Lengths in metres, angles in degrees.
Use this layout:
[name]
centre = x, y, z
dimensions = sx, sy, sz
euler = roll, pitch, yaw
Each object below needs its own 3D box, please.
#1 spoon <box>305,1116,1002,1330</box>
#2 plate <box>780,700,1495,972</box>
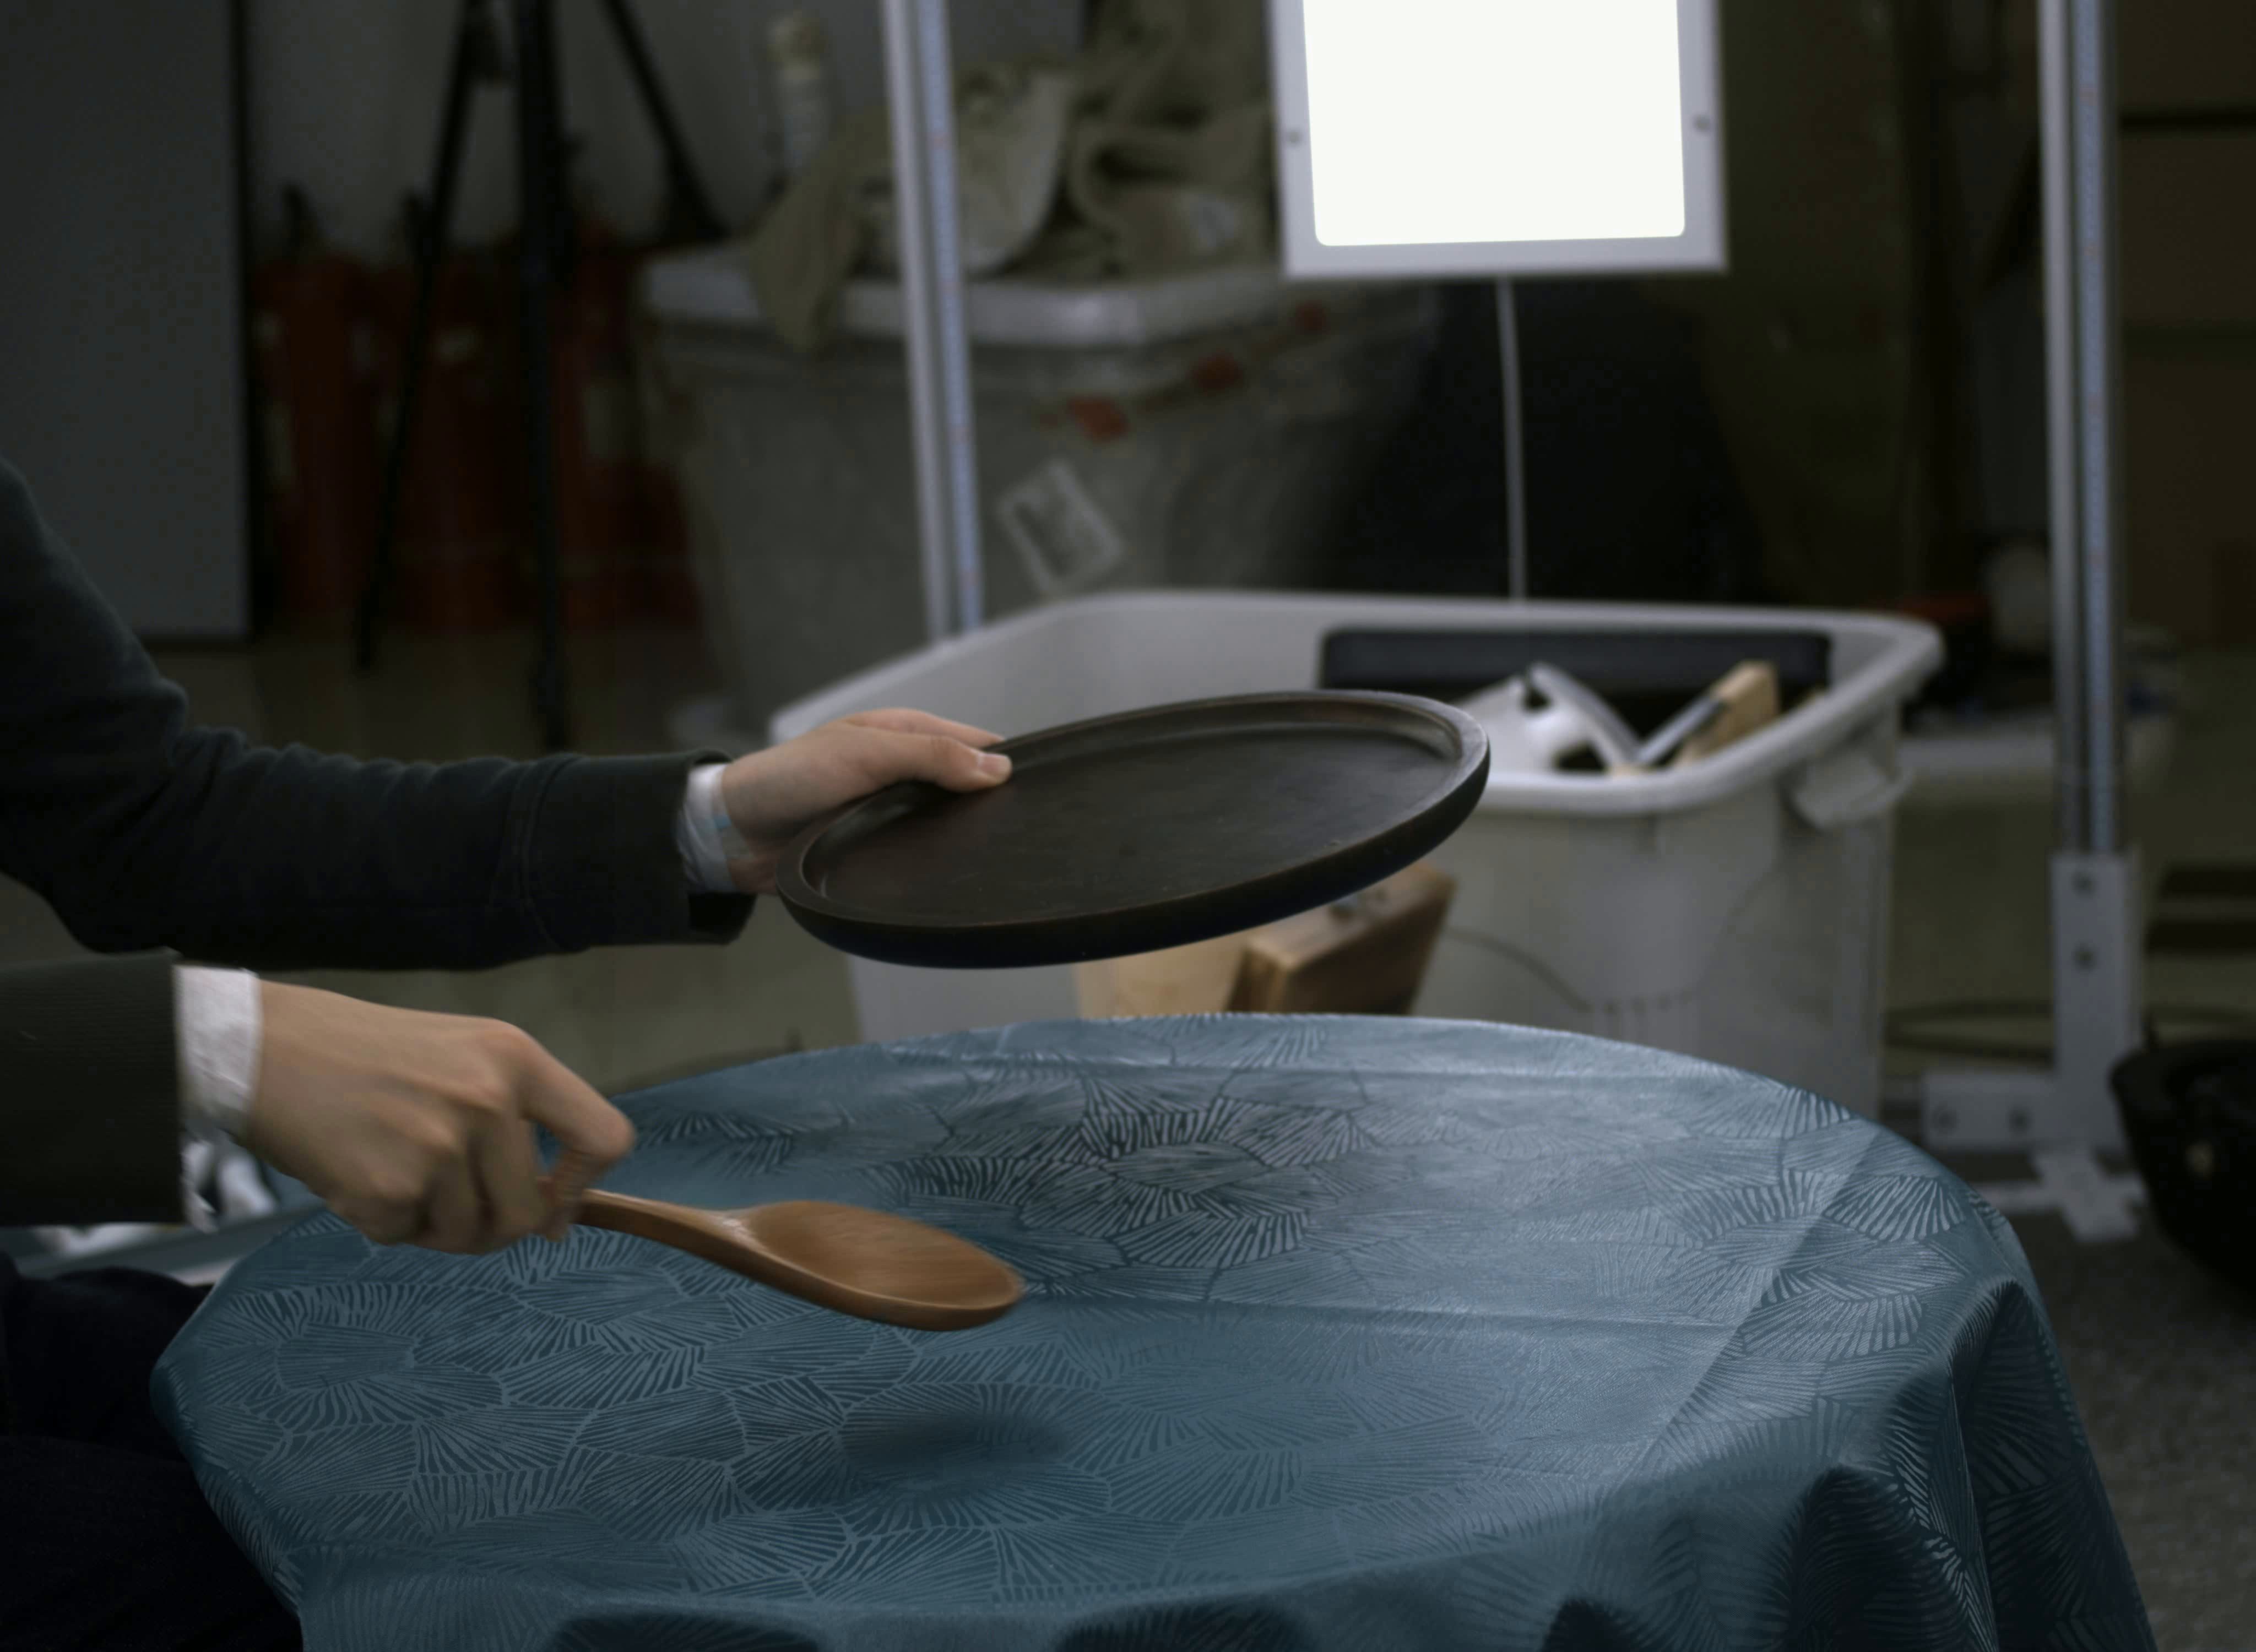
[spoon]
centre = -0.142, 0.119, 1.661
dimensions = 0.214, 0.017, 0.075
euler = 15, 14, -10
[plate]
centre = 0.004, 0.001, 1.906
dimensions = 0.254, 0.029, 0.254
euler = -10, 15, 1
